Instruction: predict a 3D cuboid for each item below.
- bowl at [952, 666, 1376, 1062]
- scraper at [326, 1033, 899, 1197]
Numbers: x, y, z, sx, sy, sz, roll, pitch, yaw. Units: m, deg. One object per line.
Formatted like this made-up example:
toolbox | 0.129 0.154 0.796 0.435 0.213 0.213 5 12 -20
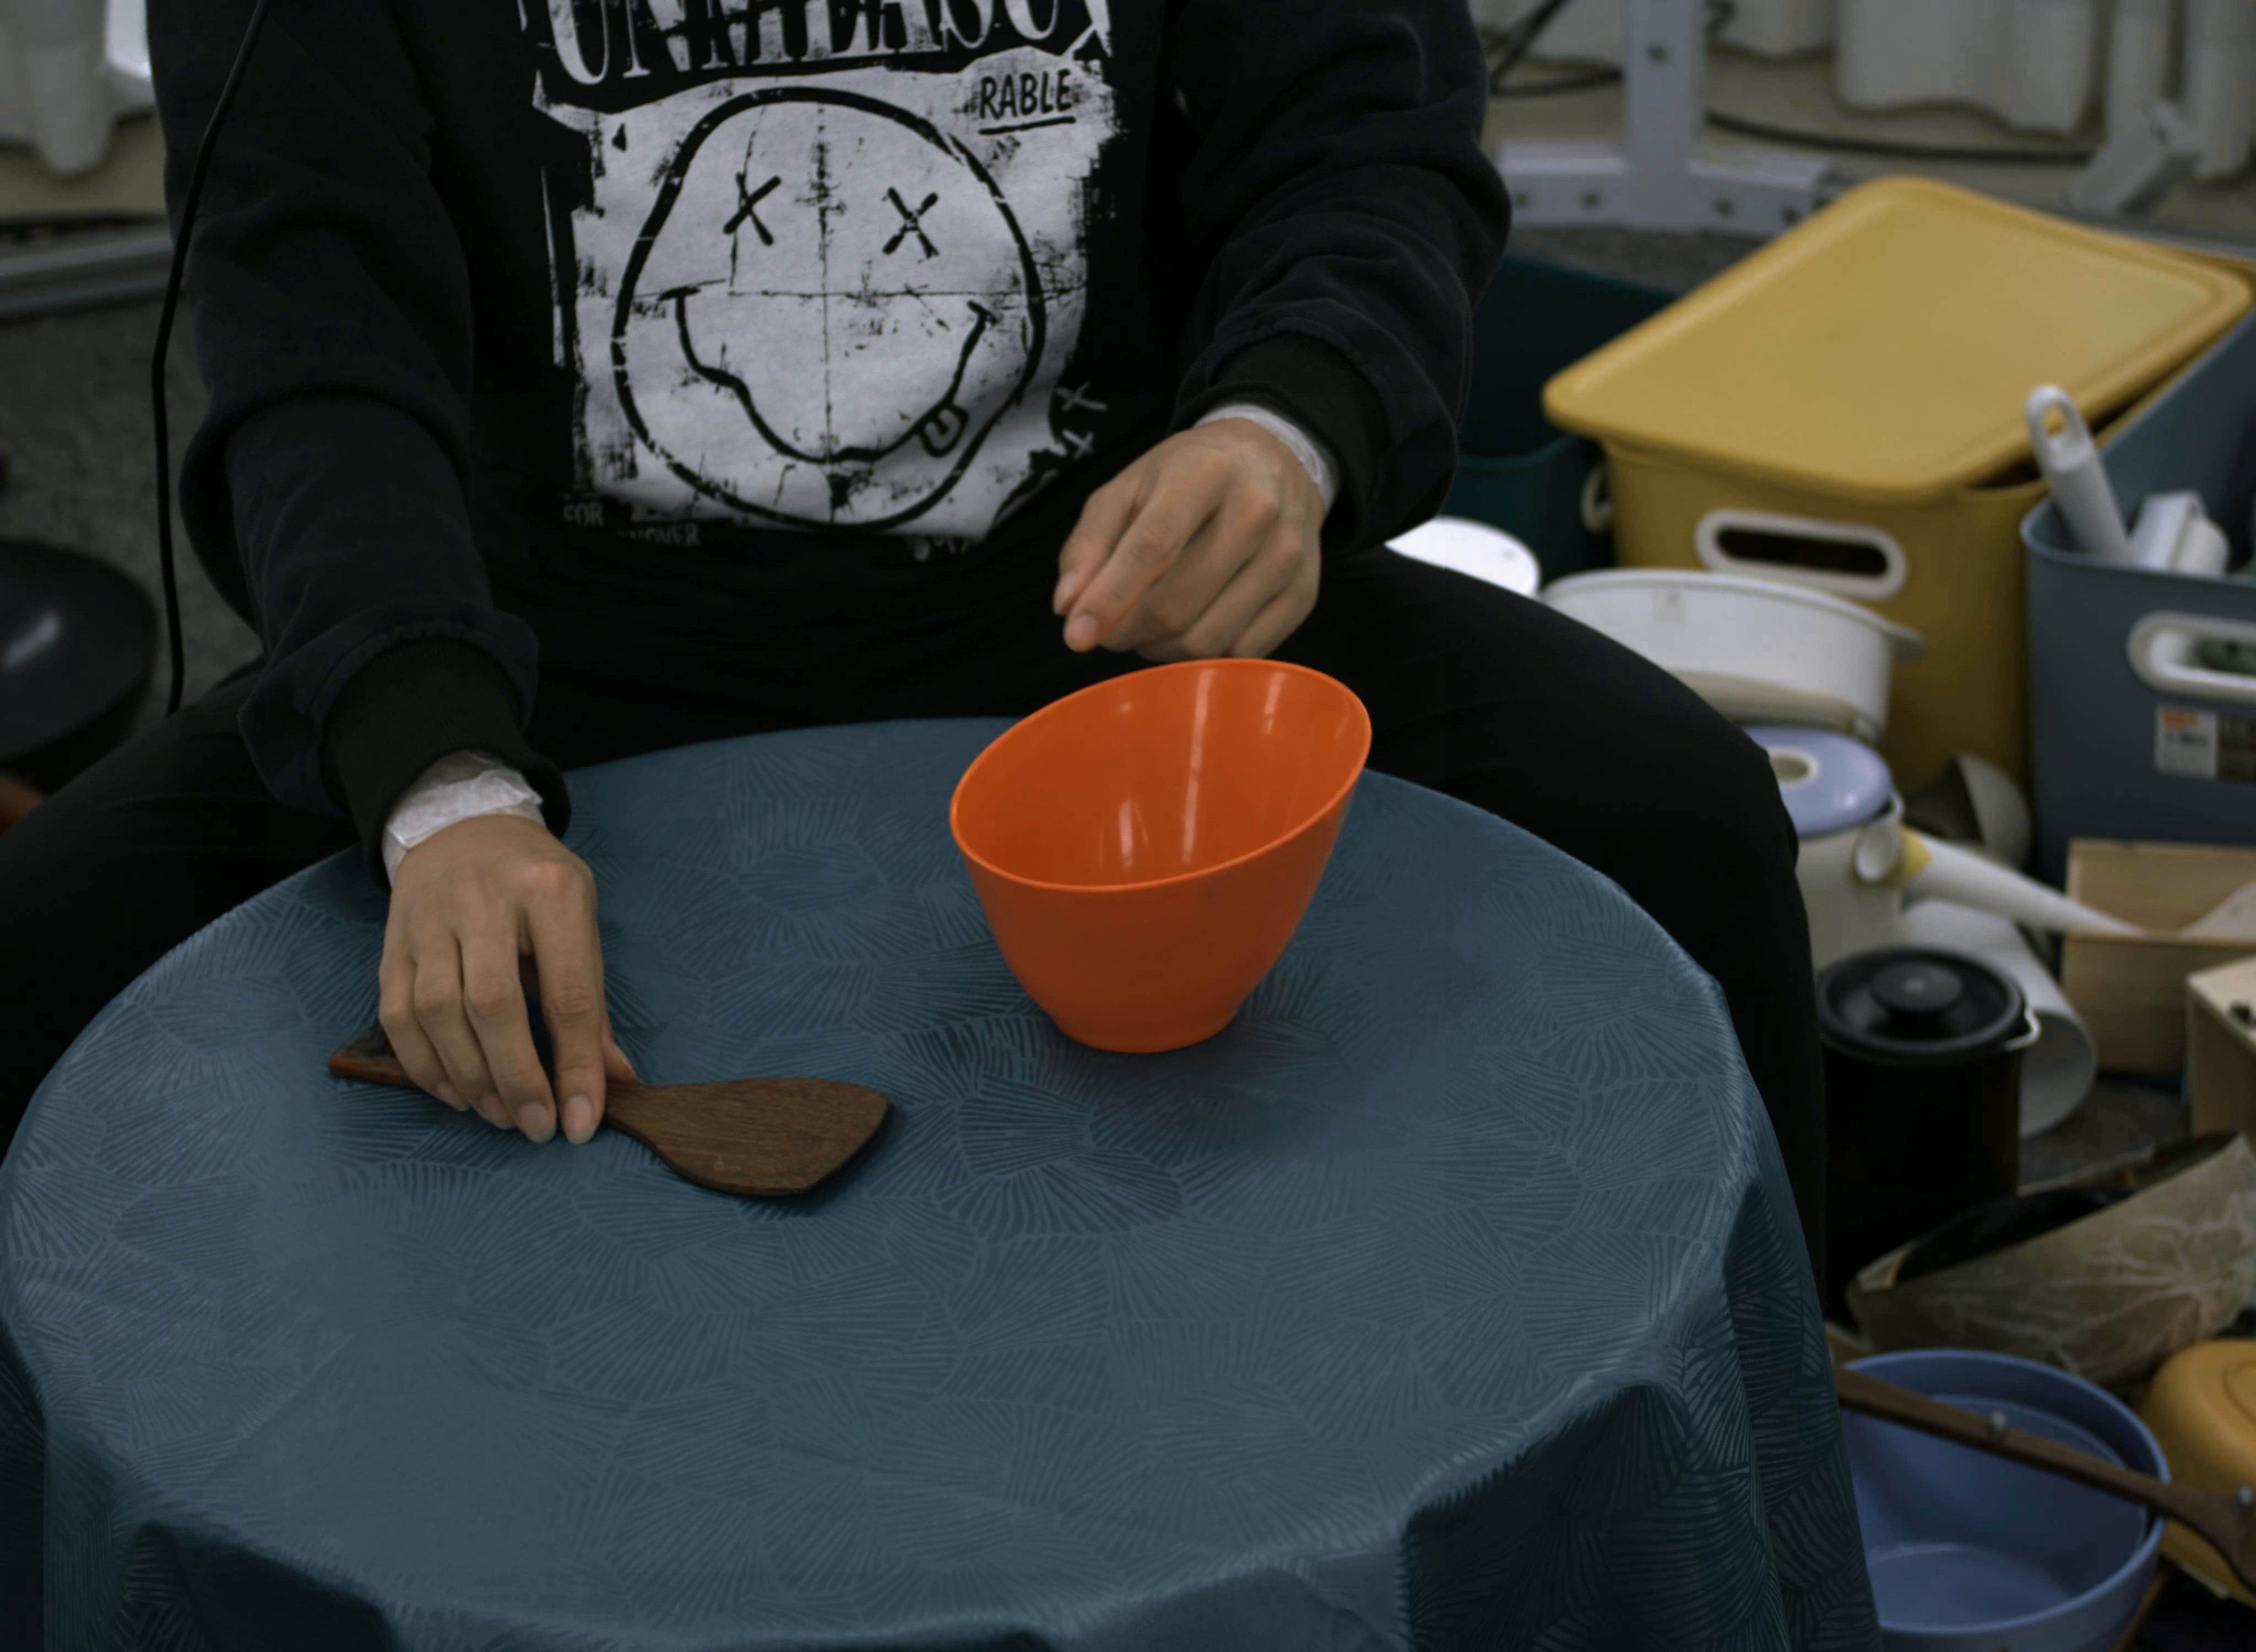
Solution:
bowl | 0.014 0.019 1.950 0.147 0.103 0.150 -2 27 2
scraper | -0.181 0.095 1.924 0.210 0.011 0.077 9 28 24
